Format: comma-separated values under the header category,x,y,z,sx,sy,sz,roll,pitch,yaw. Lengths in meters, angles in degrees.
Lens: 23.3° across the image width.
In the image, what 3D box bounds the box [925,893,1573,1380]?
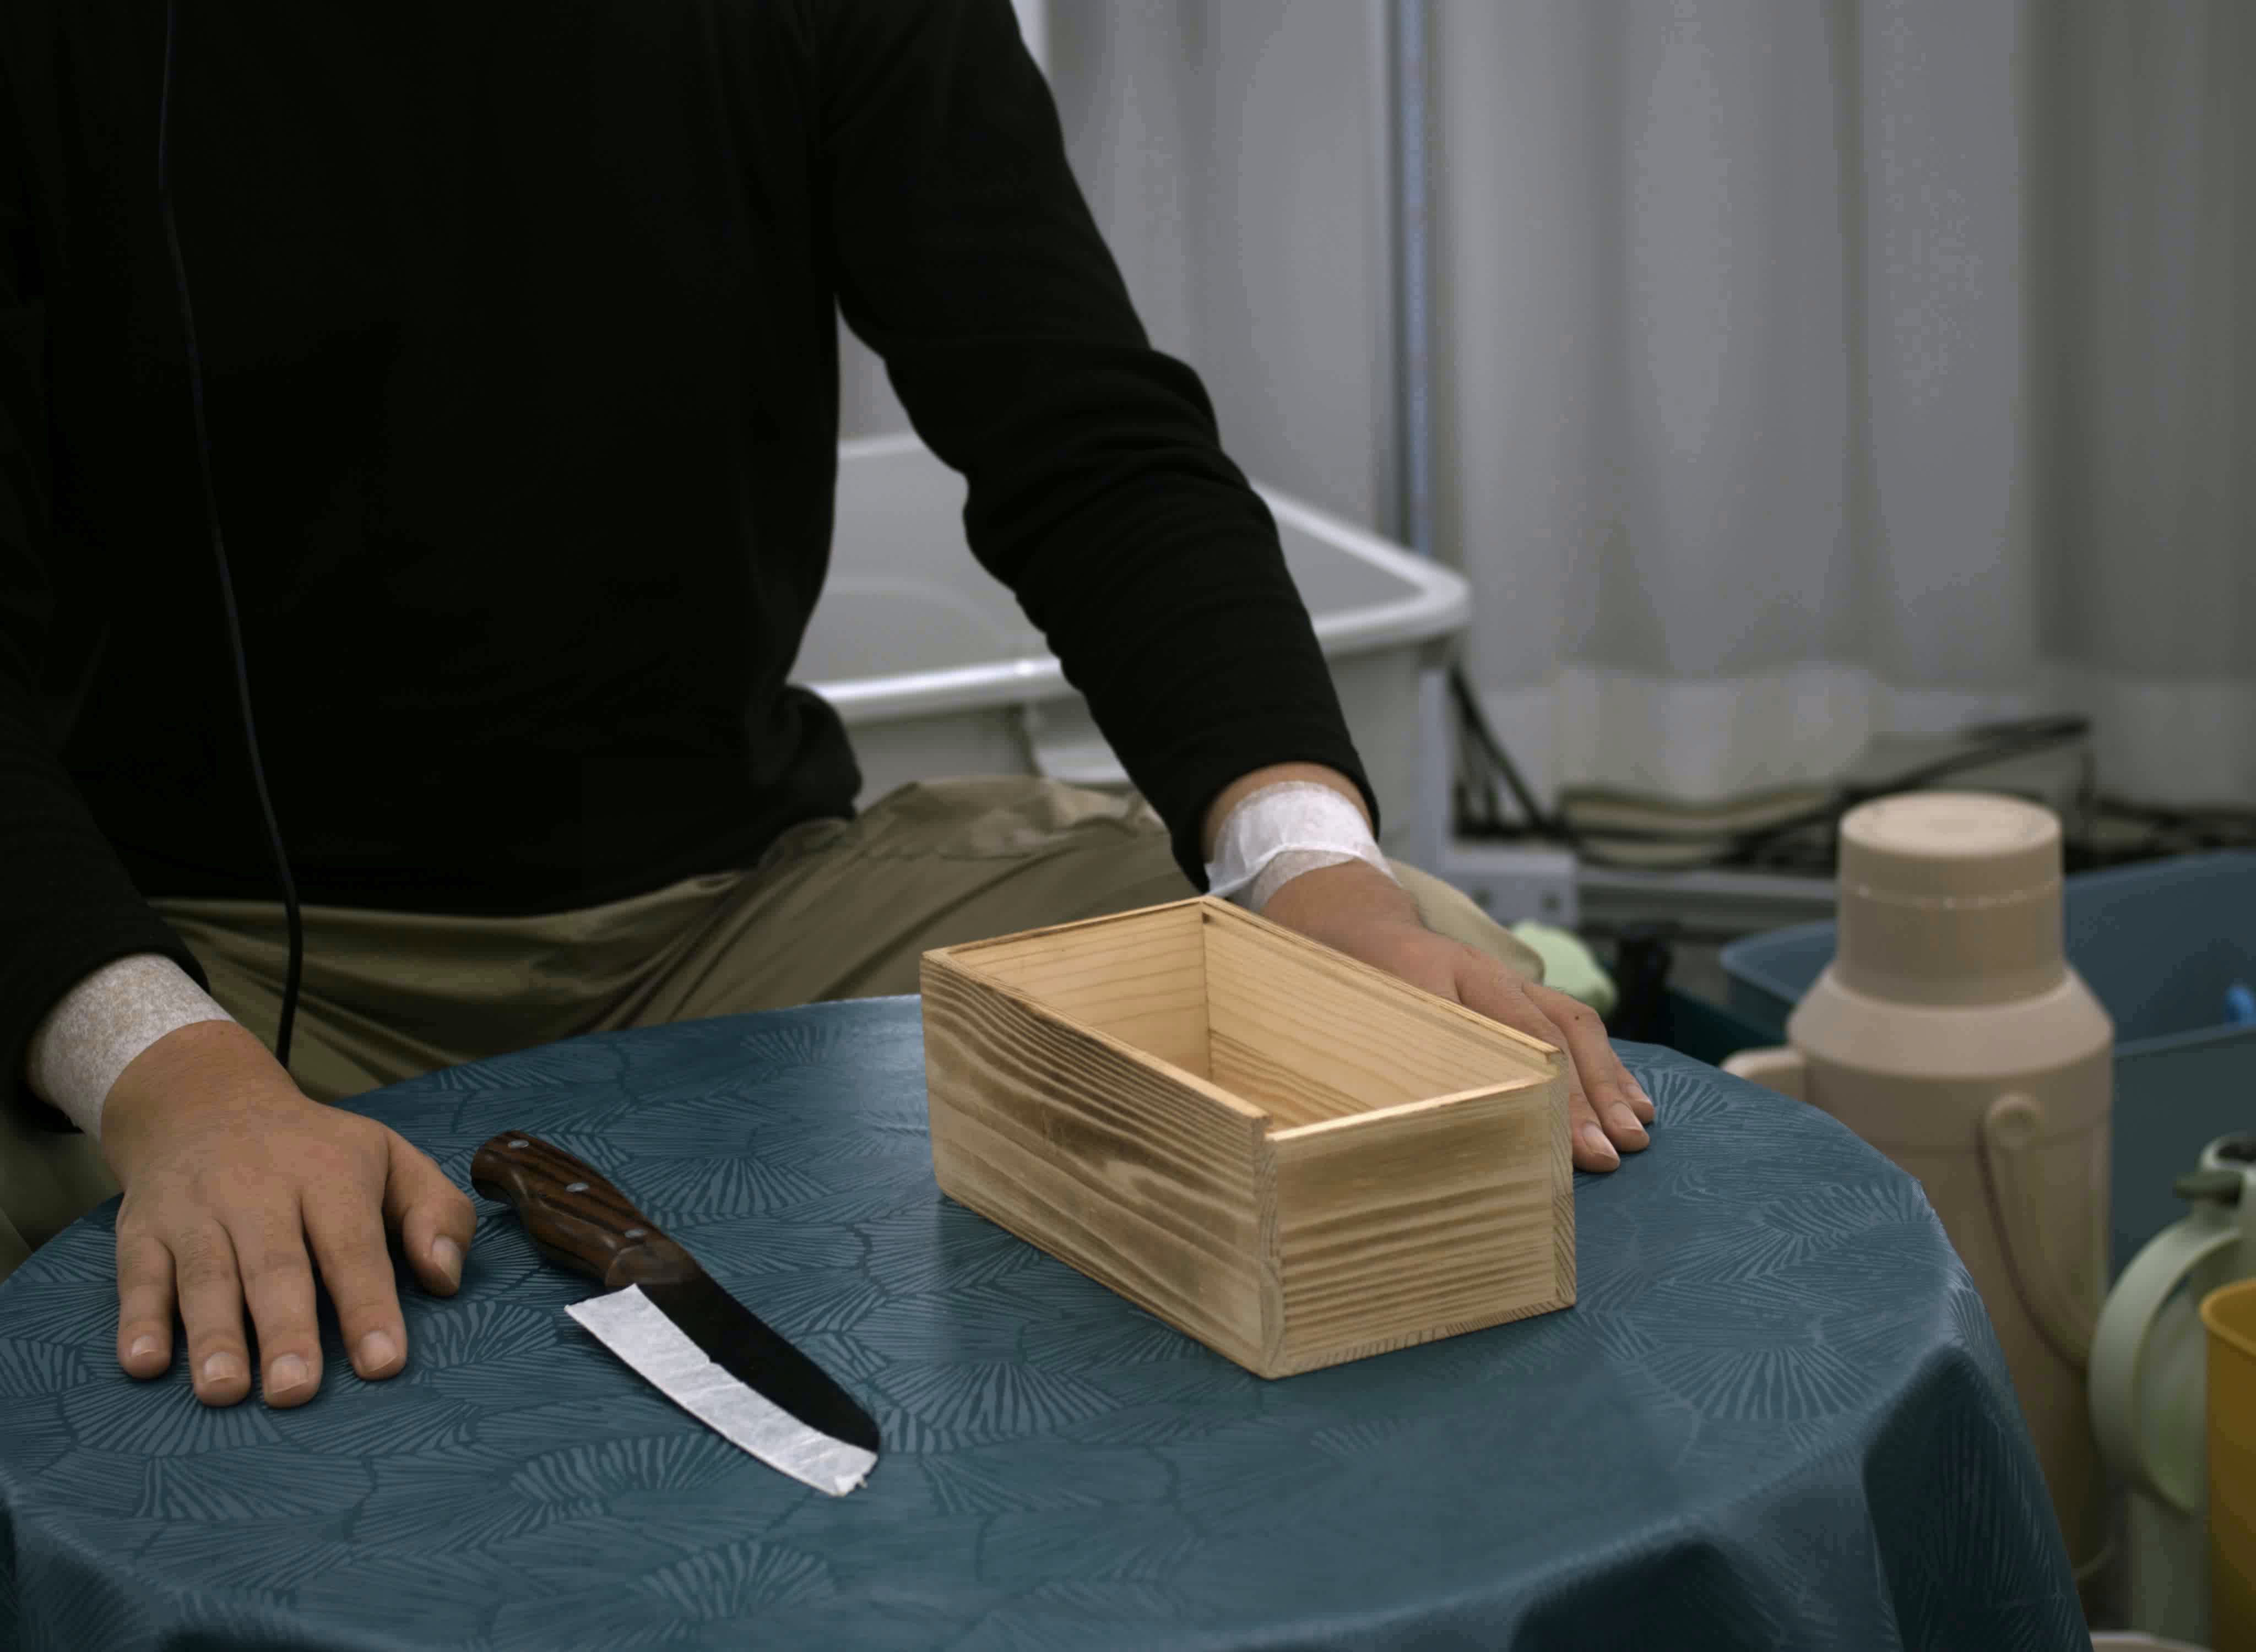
category,x,y,z,sx,sy,sz,roll,pitch,yaw
box,0.033,0.089,1.649,0.107,0.080,0.213,-10,17,-27

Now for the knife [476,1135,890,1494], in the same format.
category,x,y,z,sx,sy,sz,roll,pitch,yaw
knife,-0.135,0.143,1.605,0.050,0.020,0.291,-14,20,-22
